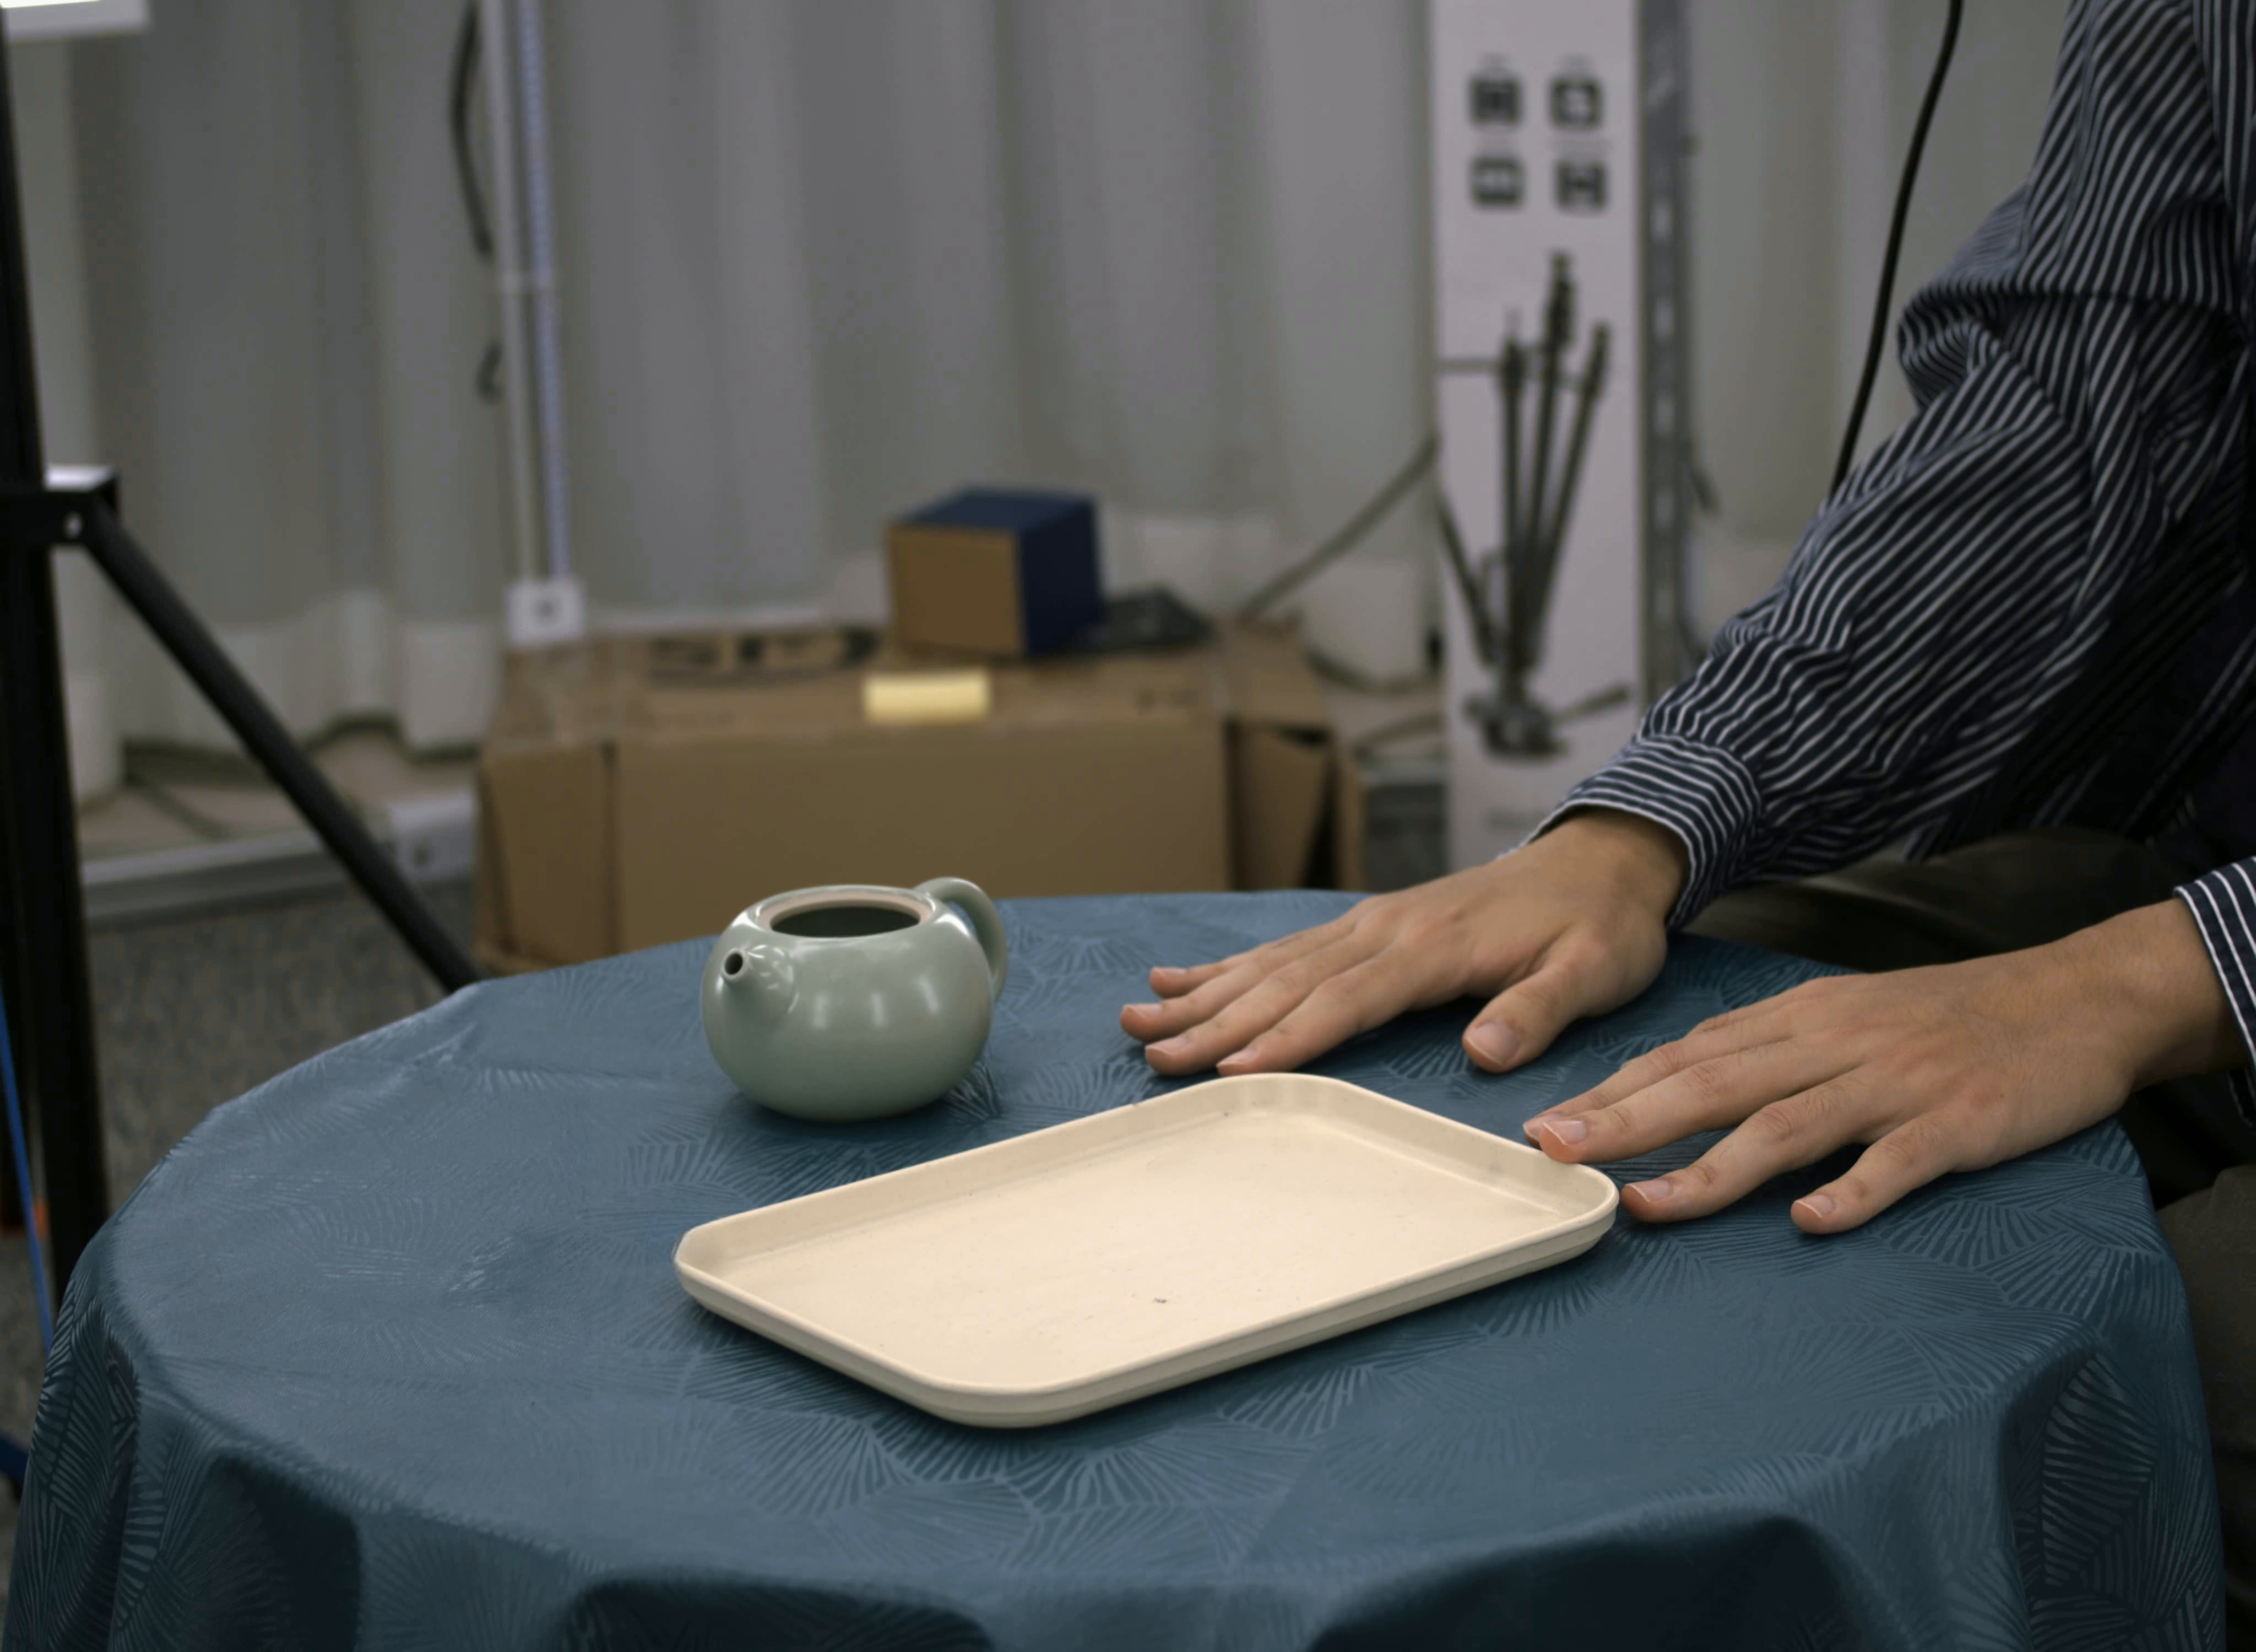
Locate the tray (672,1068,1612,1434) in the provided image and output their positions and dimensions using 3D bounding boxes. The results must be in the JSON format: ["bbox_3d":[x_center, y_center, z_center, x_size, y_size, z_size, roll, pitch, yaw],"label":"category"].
[{"bbox_3d":[0.005,0.118,1.495,0.234,0.017,0.175,-13,20,-35],"label":"tray"}]

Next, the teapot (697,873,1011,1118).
[{"bbox_3d":[-0.082,0.052,1.662,0.093,0.061,0.125,10,20,43],"label":"teapot"}]
